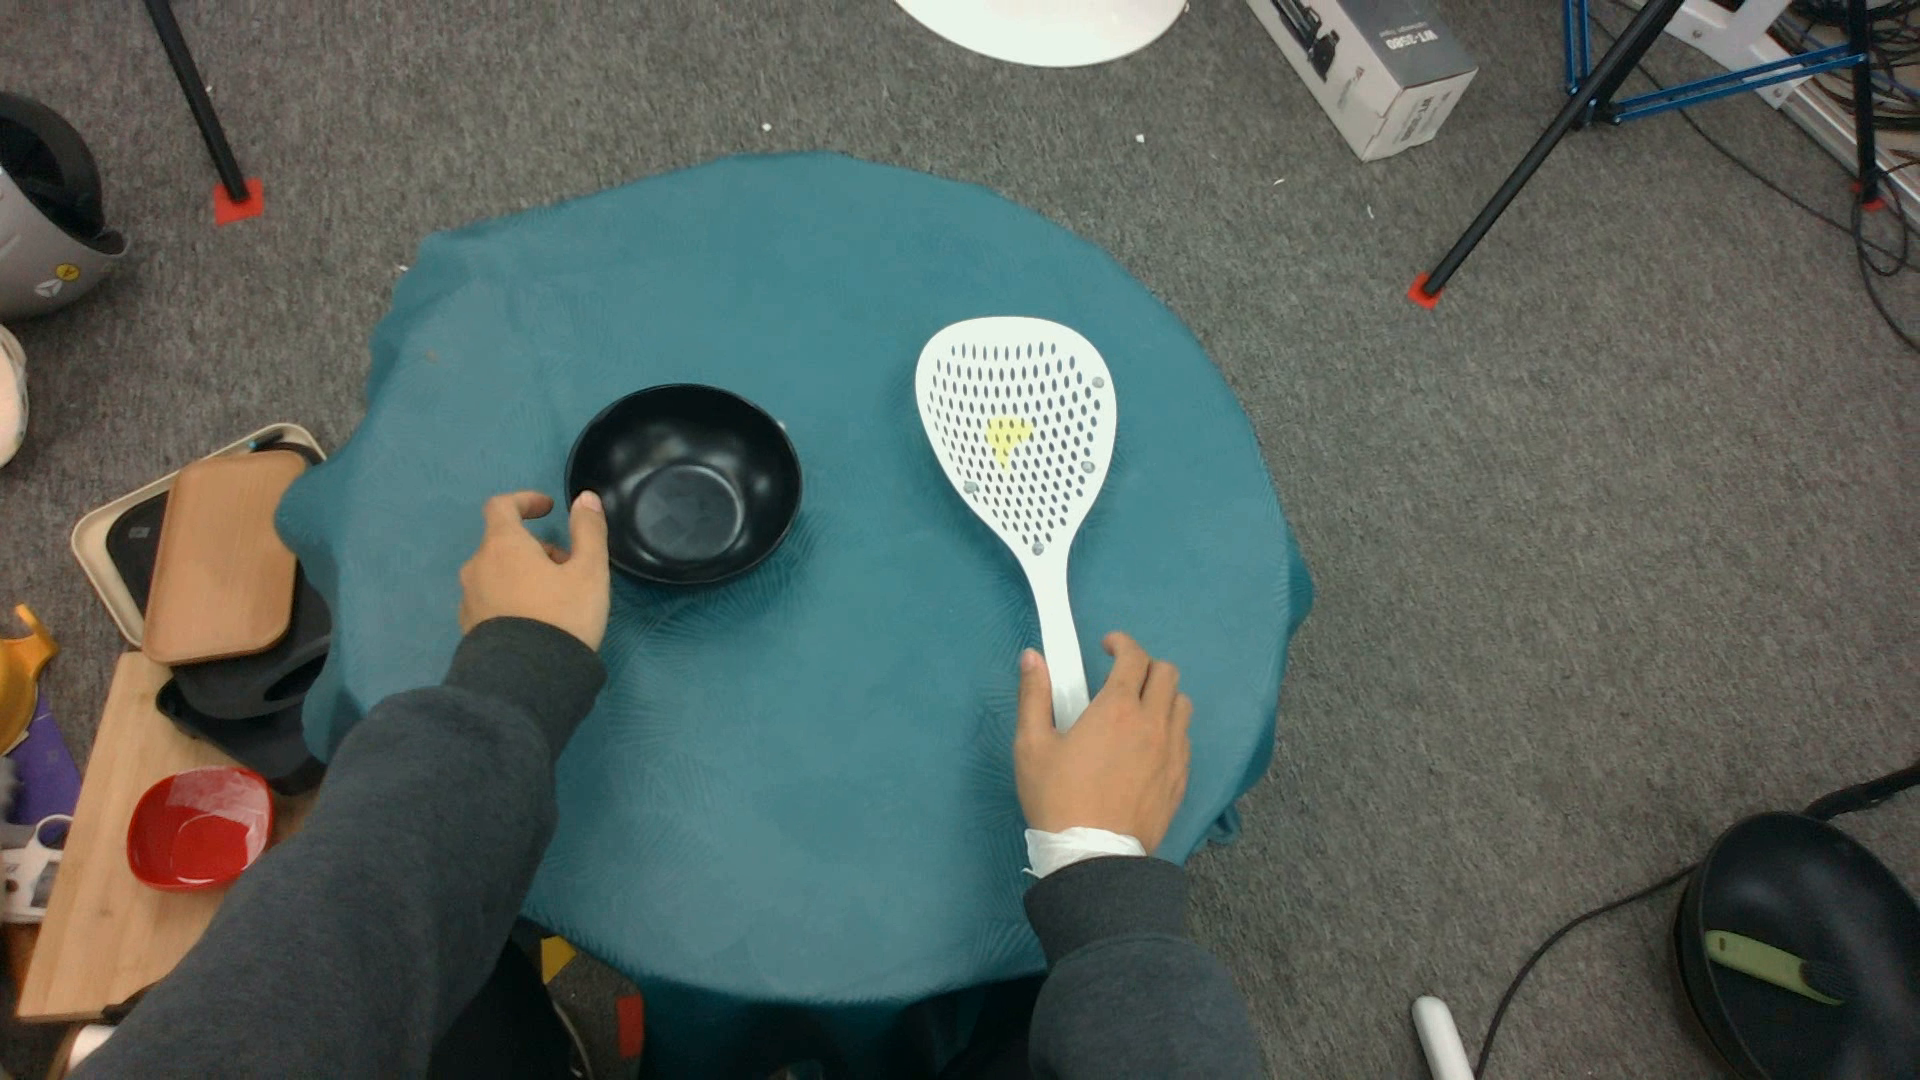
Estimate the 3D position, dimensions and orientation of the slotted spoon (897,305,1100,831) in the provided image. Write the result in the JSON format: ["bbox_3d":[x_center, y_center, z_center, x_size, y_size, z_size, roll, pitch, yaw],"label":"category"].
[{"bbox_3d":[0.042,0.007,0.867,0.137,0.050,0.349,-3,64,-17],"label":"slotted spoon"}]

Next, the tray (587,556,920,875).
[{"bbox_3d":[-0.206,0.169,1.377,0.300,0.027,0.192,42,62,13],"label":"tray"}]
